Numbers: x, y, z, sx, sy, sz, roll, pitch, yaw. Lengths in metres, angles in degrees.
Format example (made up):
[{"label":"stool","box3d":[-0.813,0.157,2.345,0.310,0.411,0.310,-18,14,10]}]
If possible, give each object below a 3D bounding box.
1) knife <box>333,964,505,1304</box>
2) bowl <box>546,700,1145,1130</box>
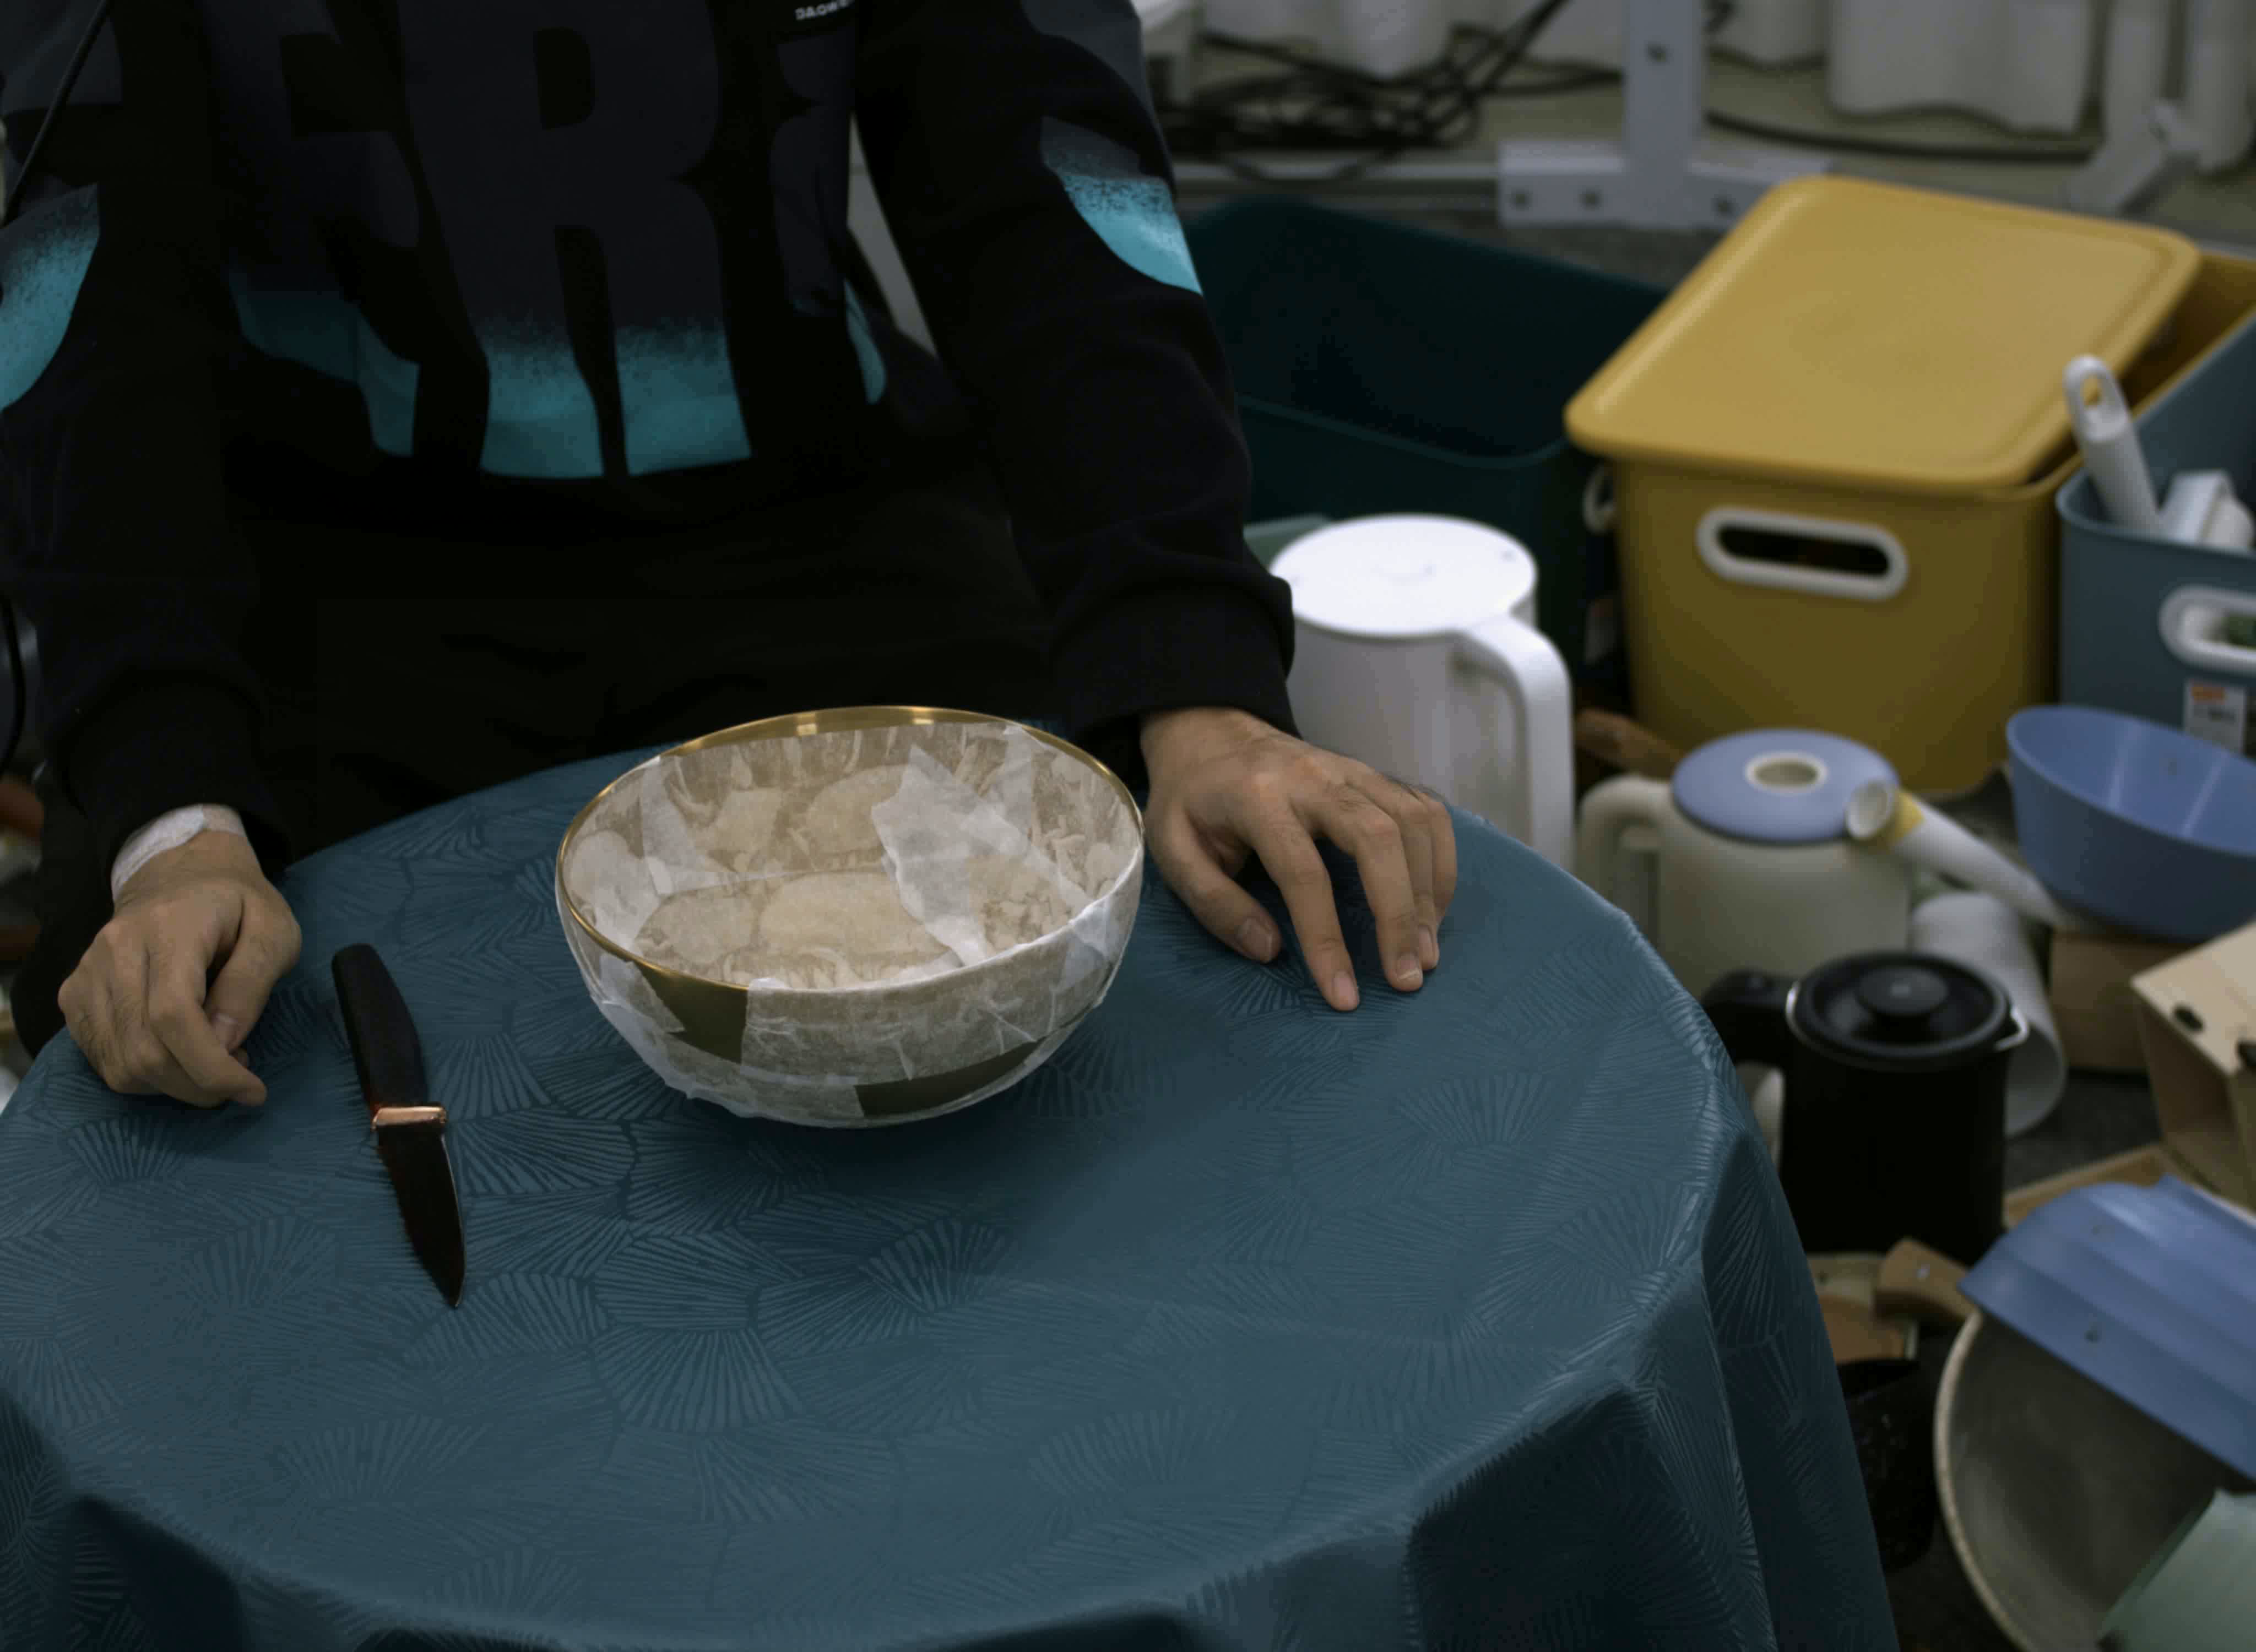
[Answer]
[{"label":"knife","box3d":[-0.243,0.104,1.910,0.026,0.017,0.228,-4,28,-17]},{"label":"bowl","box3d":[-0.092,0.041,1.924,0.213,0.093,0.218,-3,28,2]}]
